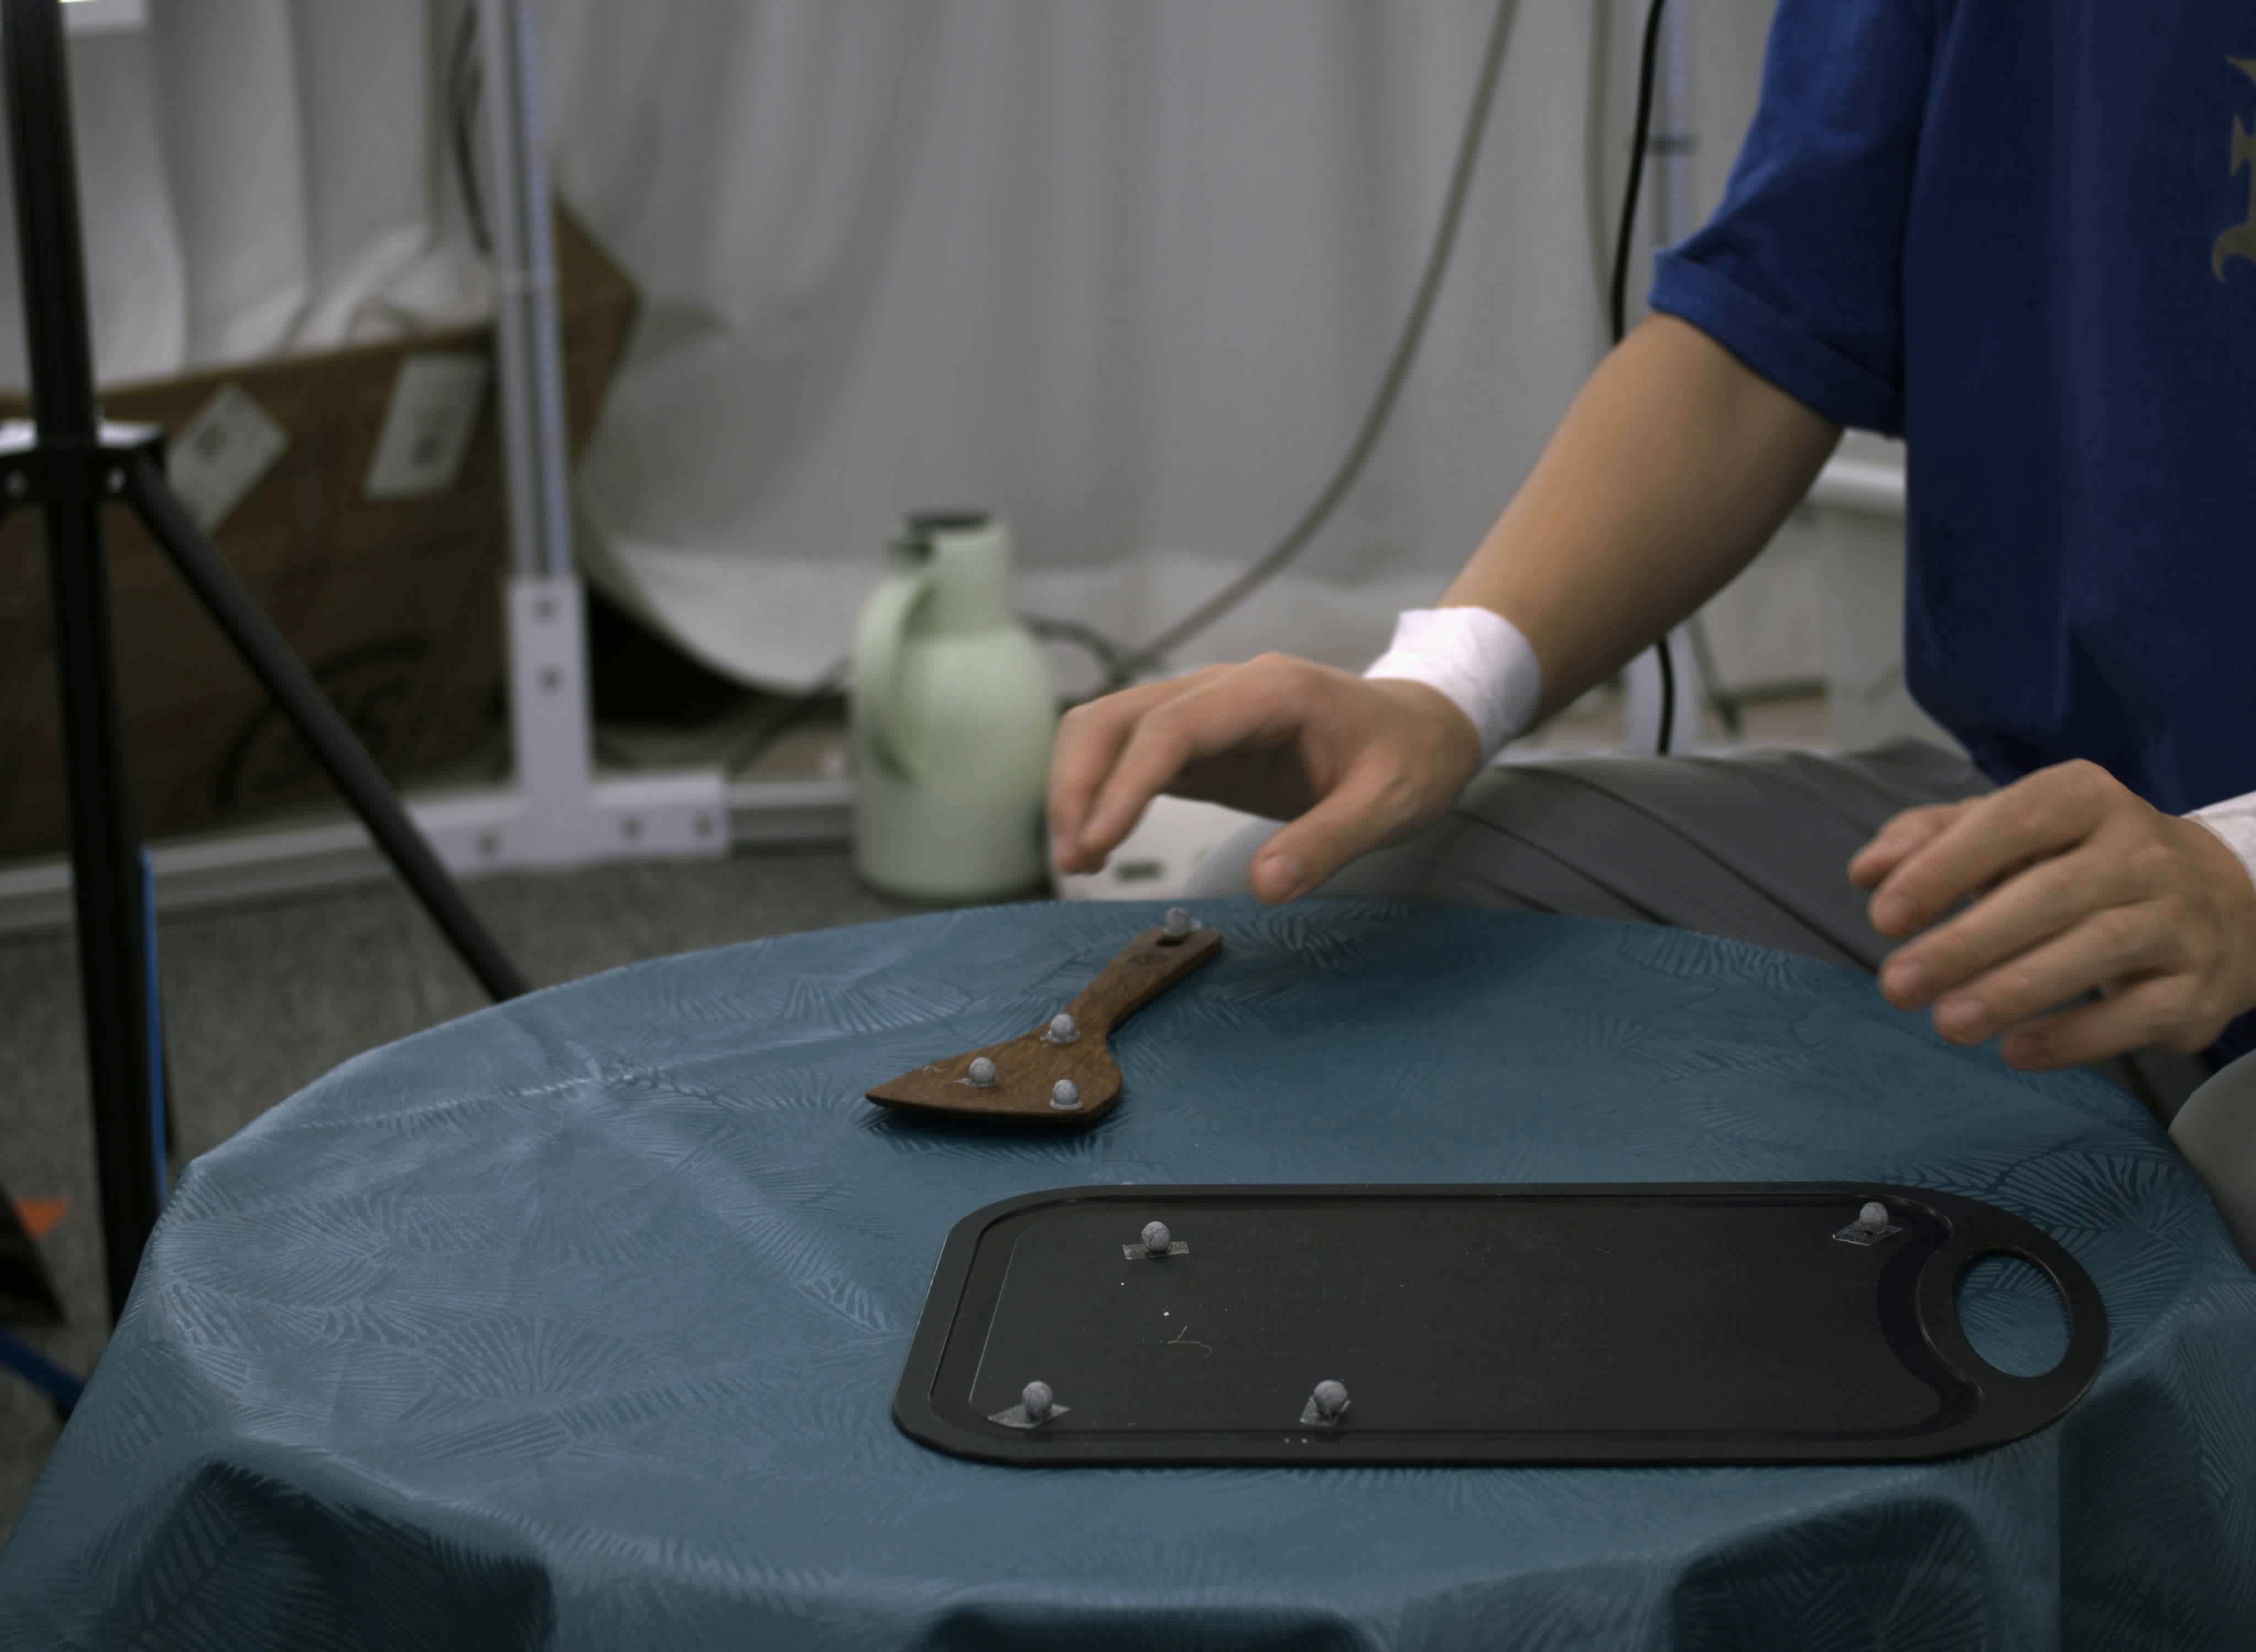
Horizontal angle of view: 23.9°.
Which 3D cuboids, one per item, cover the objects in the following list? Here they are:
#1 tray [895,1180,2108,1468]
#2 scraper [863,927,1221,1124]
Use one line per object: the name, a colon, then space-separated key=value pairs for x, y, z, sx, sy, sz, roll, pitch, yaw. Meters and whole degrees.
tray: x=0.105 y=0.132 z=1.443 sx=0.326 sy=0.010 sz=0.211 roll=0 pitch=16 yaw=7
scraper: x=-0.014 y=0.063 z=1.704 sx=0.077 sy=0.011 sz=0.208 roll=4 pitch=16 yaw=20
